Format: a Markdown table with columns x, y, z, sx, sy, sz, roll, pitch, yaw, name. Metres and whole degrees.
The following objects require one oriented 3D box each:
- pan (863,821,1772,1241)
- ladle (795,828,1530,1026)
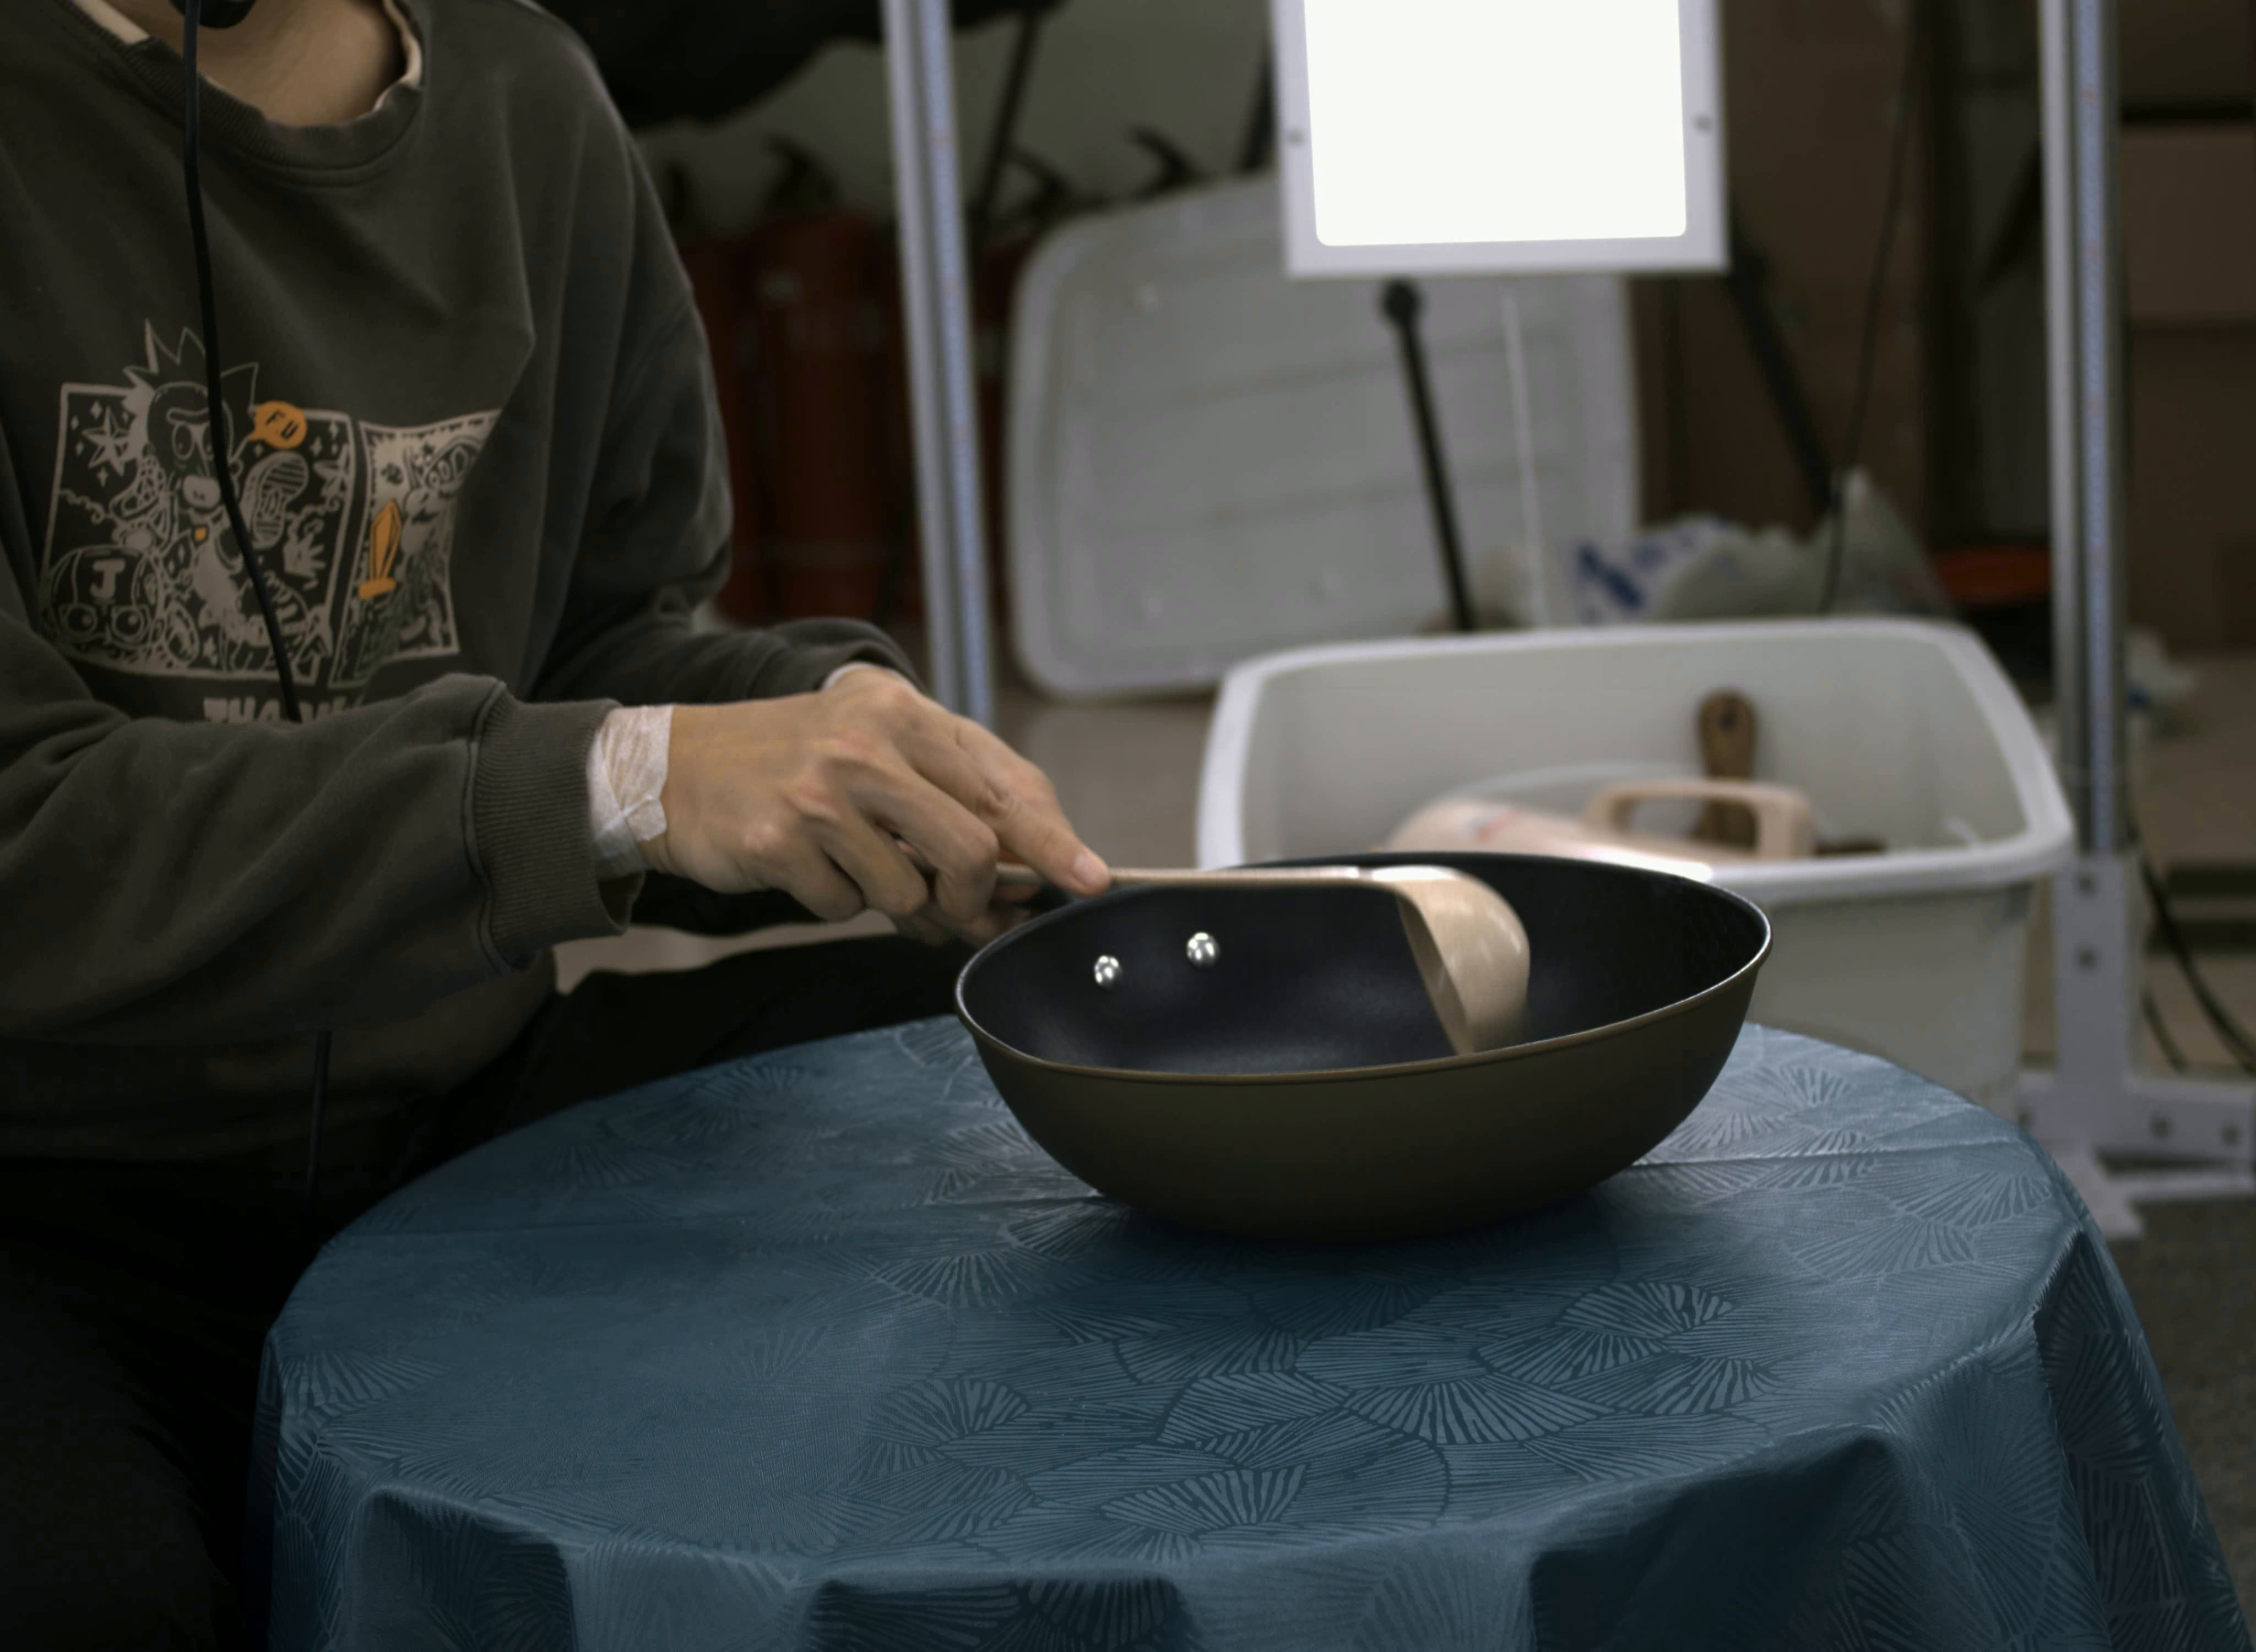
| x | y | z | sx | sy | sz | roll | pitch | yaw | name |
| --- | --- | --- | --- | --- | --- | --- | --- | --- | --- |
| 0.030 | 0.068 | 1.952 | 0.281 | 0.087 | 0.472 | -14 | 15 | -31 | pan |
| 0.010 | 0.047 | 1.877 | 0.253 | 0.073 | 0.072 | 5 | 7 | -2 | ladle |
